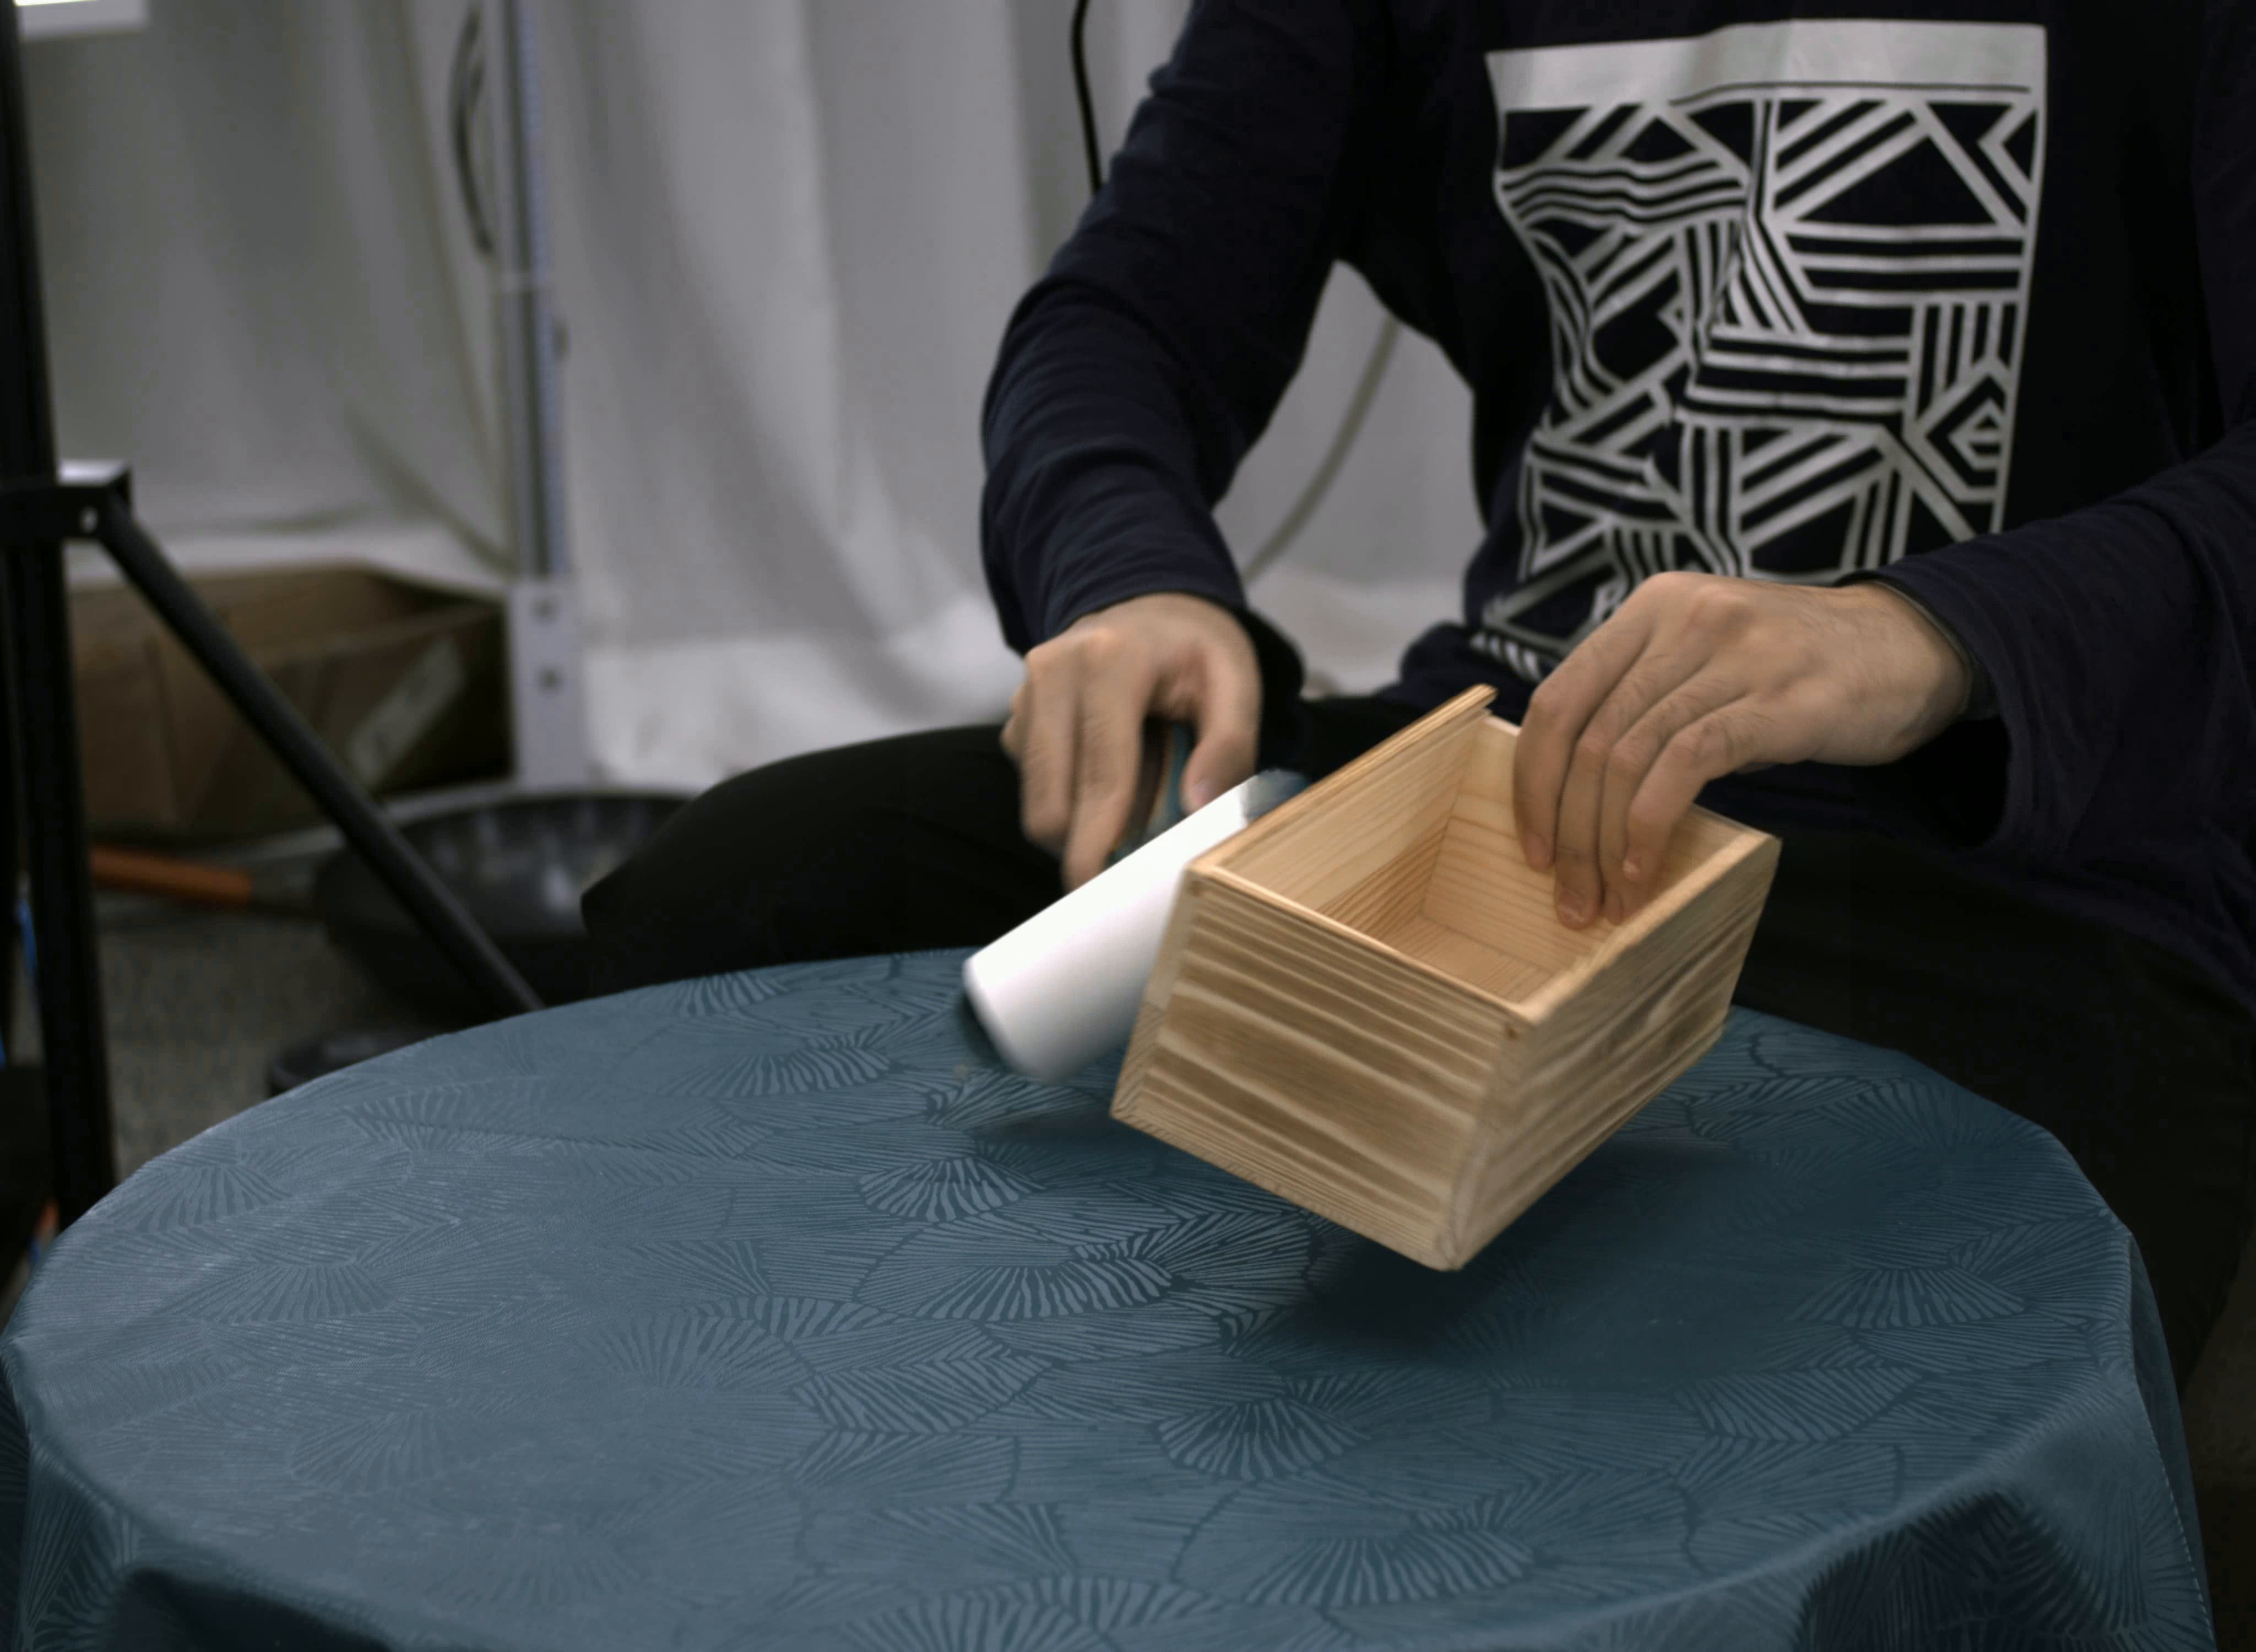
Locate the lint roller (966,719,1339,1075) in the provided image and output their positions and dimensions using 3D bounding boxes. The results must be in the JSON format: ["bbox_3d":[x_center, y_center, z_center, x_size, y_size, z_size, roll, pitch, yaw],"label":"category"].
[{"bbox_3d":[0.006,-0.003,1.662,0.135,0.047,0.182,-35,26,14],"label":"lint roller"}]

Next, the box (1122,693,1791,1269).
[{"bbox_3d":[0.096,0.039,1.492,0.109,0.080,0.208,24,23,18],"label":"box"}]
